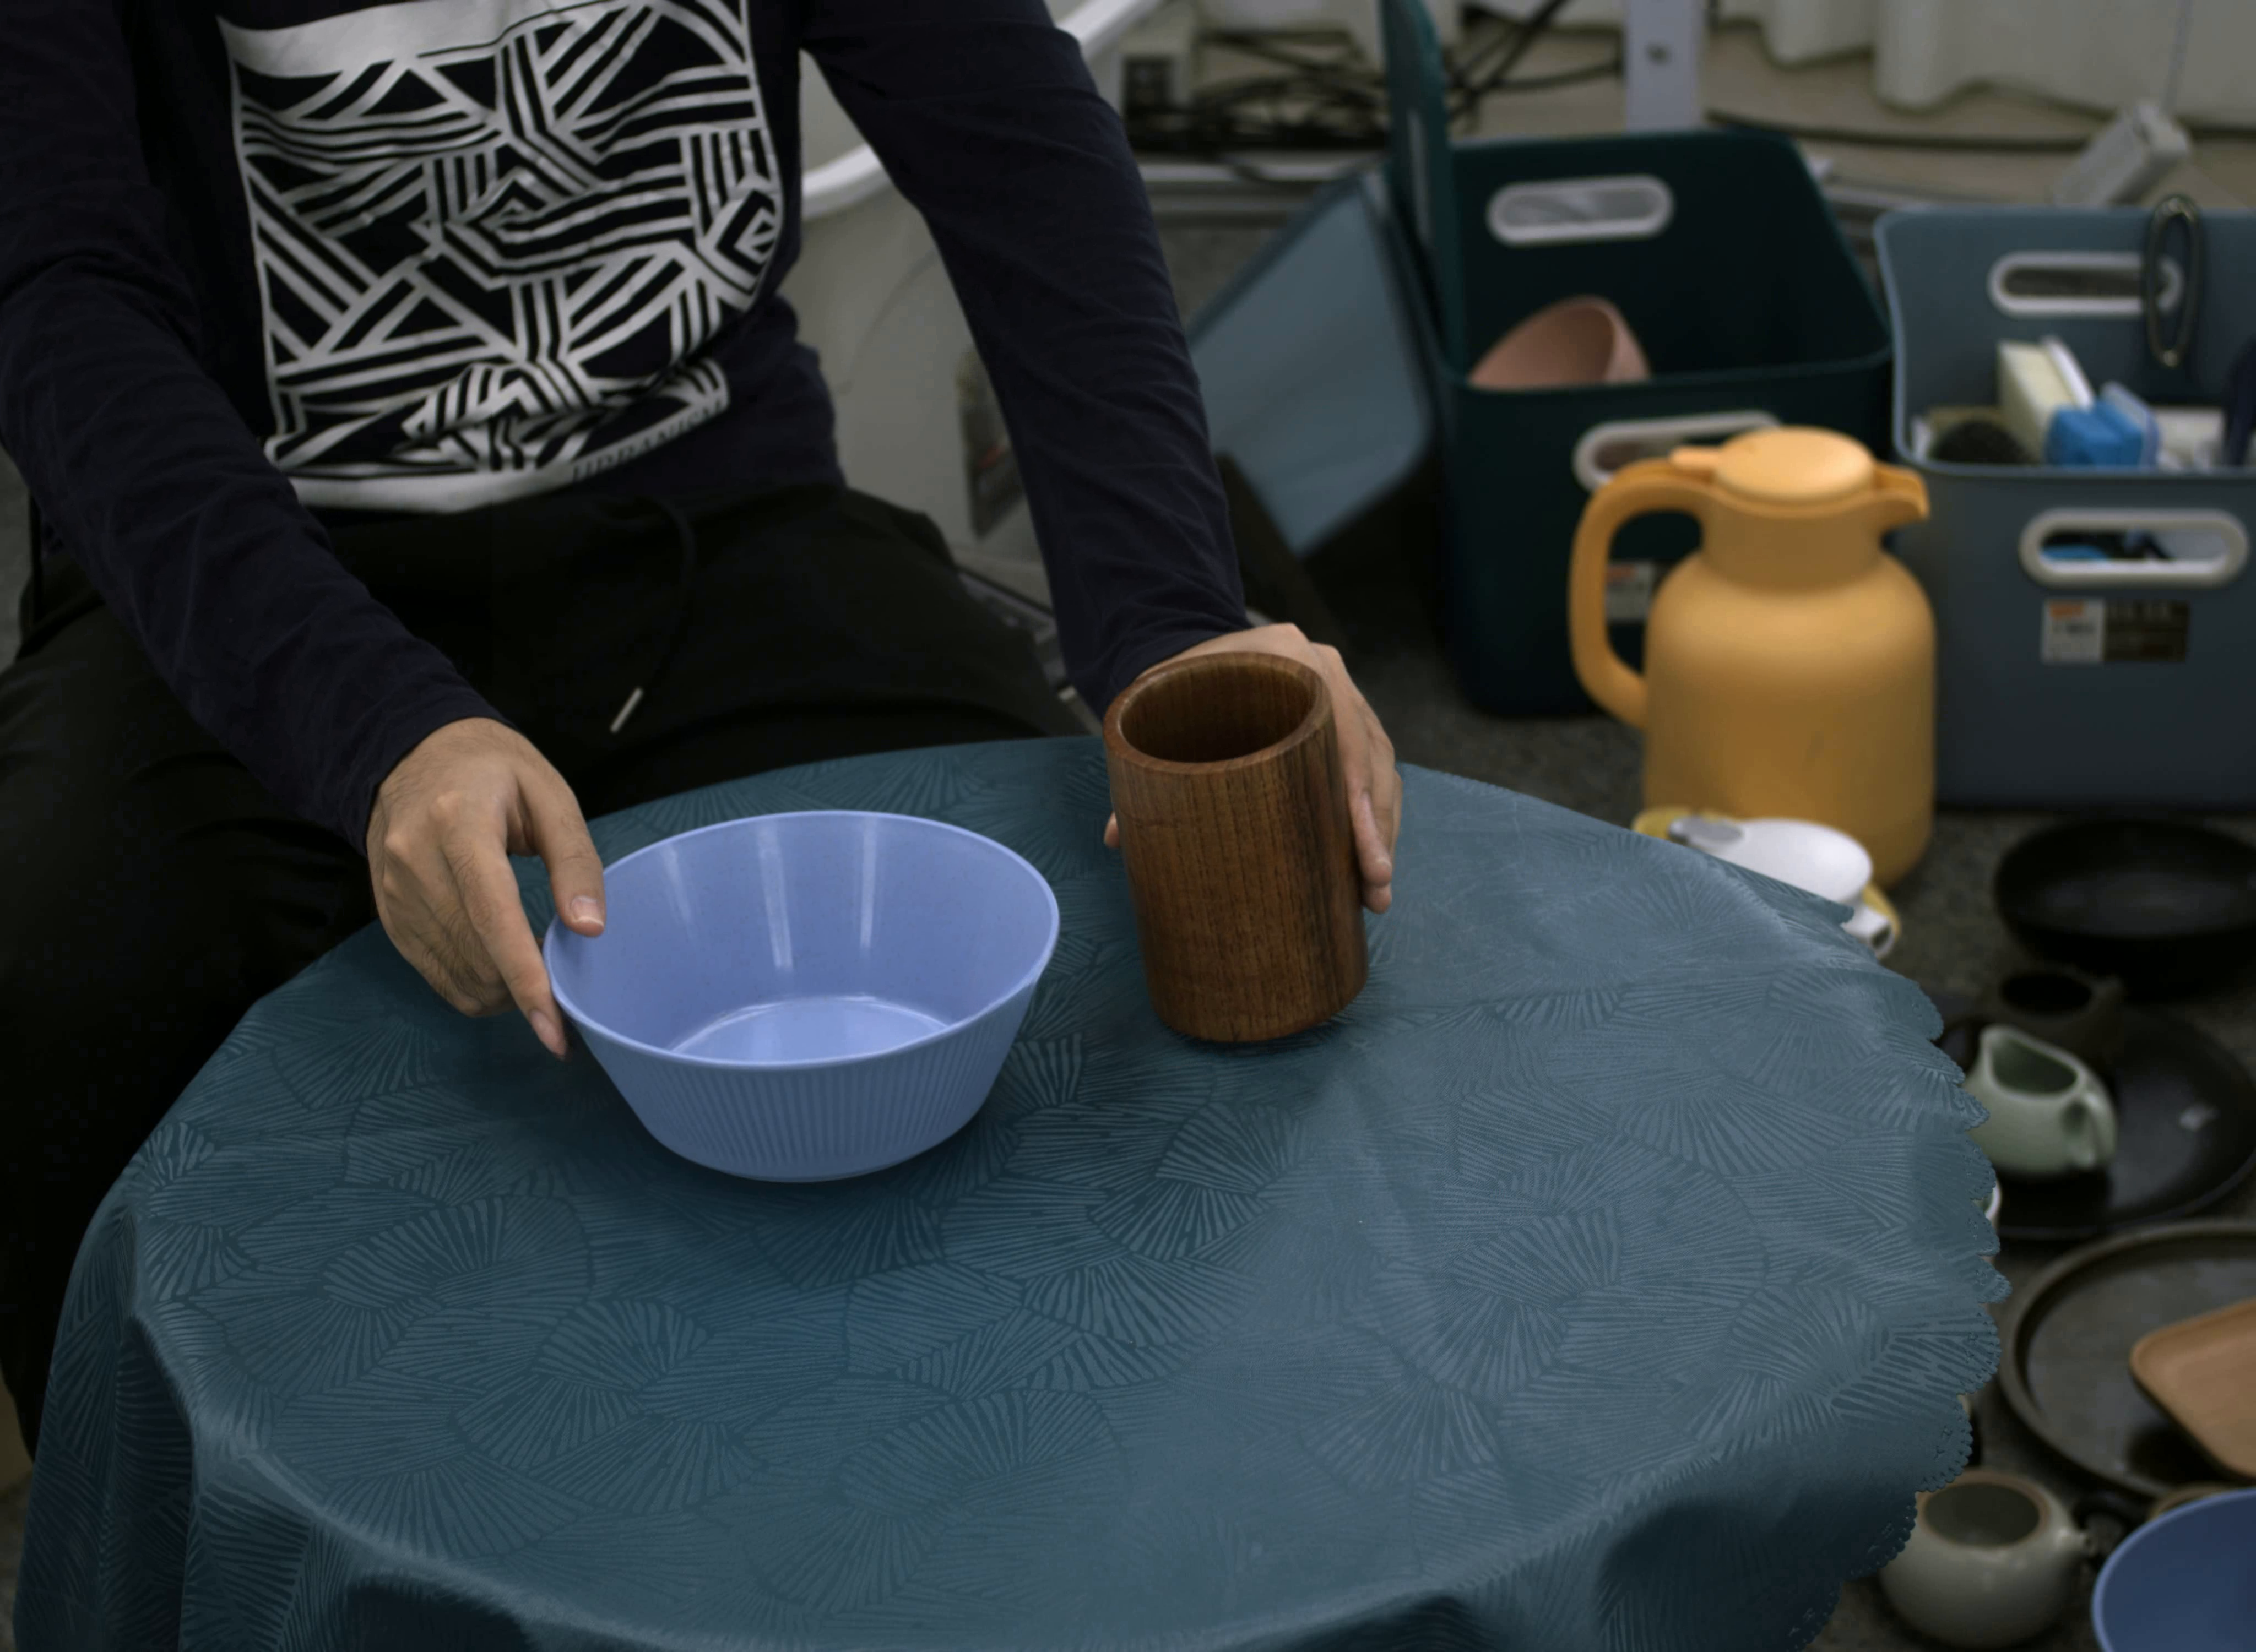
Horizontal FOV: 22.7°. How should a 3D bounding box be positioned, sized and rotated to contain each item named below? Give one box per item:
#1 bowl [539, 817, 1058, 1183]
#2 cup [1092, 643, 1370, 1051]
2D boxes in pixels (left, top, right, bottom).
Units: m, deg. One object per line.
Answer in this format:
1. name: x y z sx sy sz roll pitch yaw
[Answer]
1. bowl: -0.109 0.065 1.905 0.175 0.069 0.179 -2 26 1
2. cup: 0.037 0.007 1.931 0.087 0.117 0.089 -6 27 4
